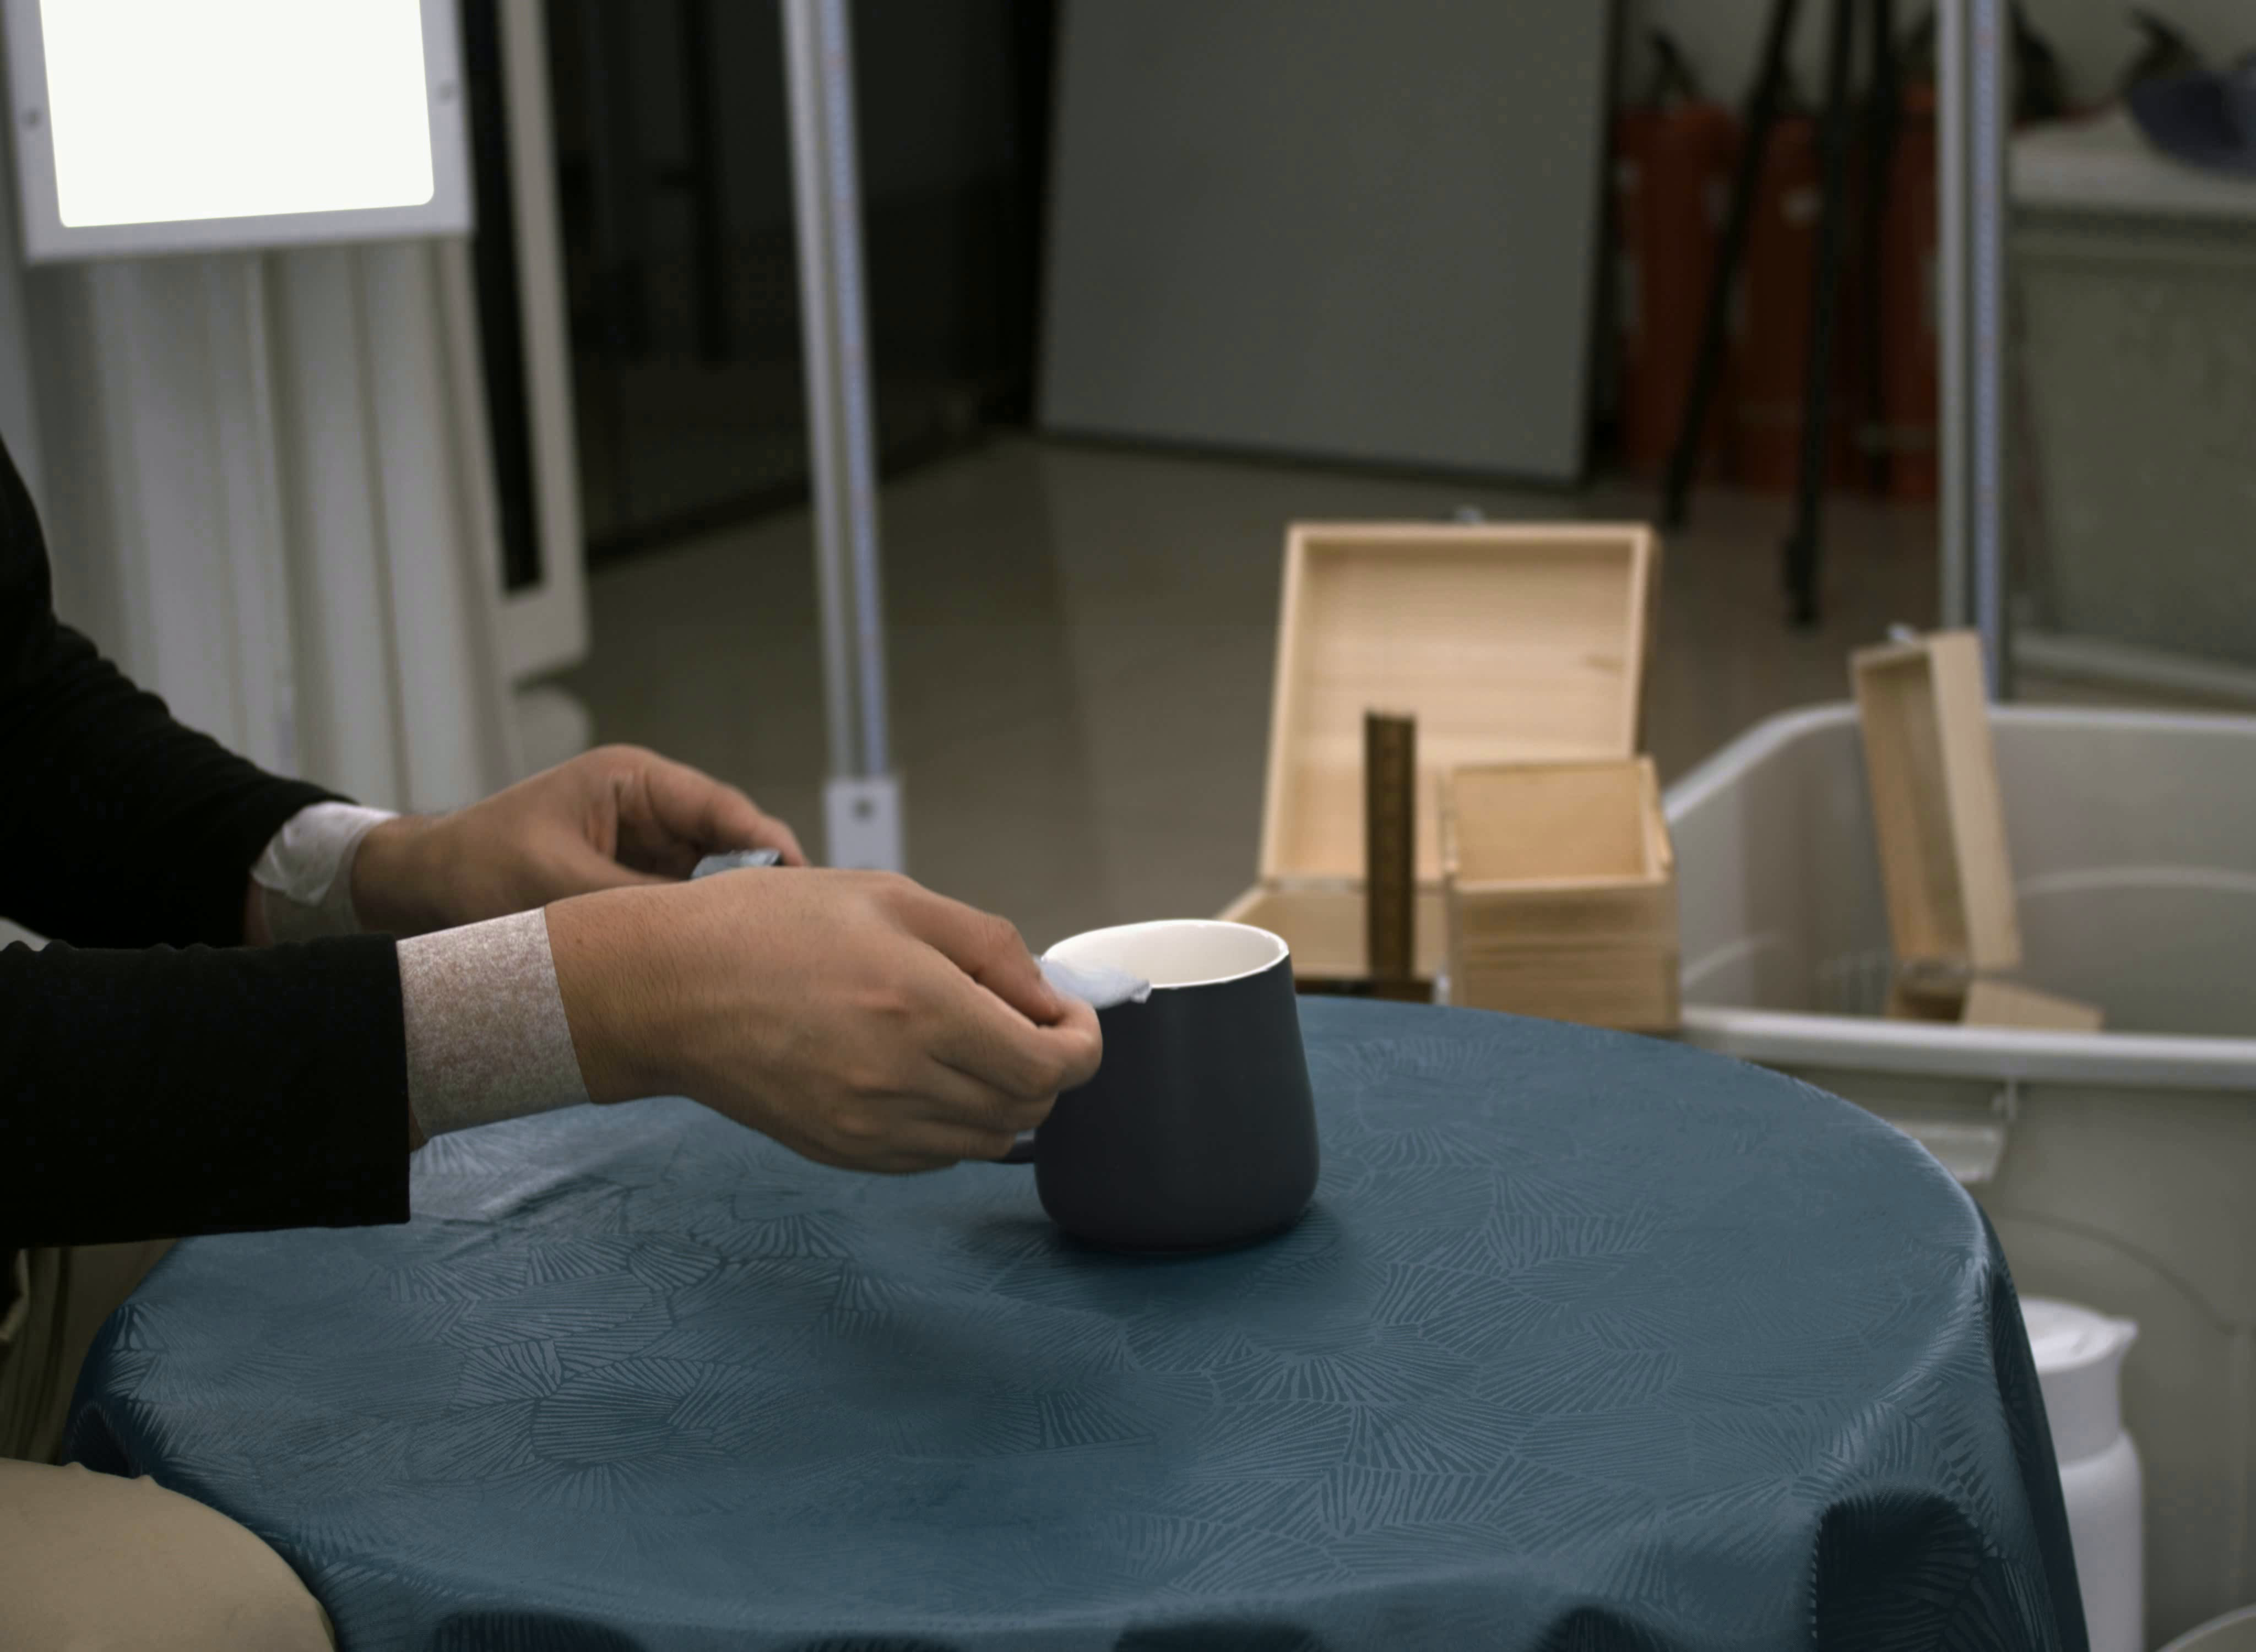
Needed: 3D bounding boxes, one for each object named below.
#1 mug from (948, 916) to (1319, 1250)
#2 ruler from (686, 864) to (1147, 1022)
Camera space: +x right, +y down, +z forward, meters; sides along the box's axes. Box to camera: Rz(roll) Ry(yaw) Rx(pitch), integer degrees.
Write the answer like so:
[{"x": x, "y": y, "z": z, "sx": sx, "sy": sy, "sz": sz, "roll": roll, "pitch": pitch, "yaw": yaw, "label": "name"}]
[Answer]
[{"x": 0.000, "y": 0.081, "z": 1.734, "sx": 0.123, "sy": 0.091, "sz": 0.092, "roll": 2, "pitch": 14, "yaw": 19, "label": "mug"}, {"x": -0.072, "y": 0.035, "z": 1.669, "sx": 0.037, "sy": 0.024, "sz": 0.220, "roll": -29, "pitch": 19, "yaw": -30, "label": "ruler"}]
